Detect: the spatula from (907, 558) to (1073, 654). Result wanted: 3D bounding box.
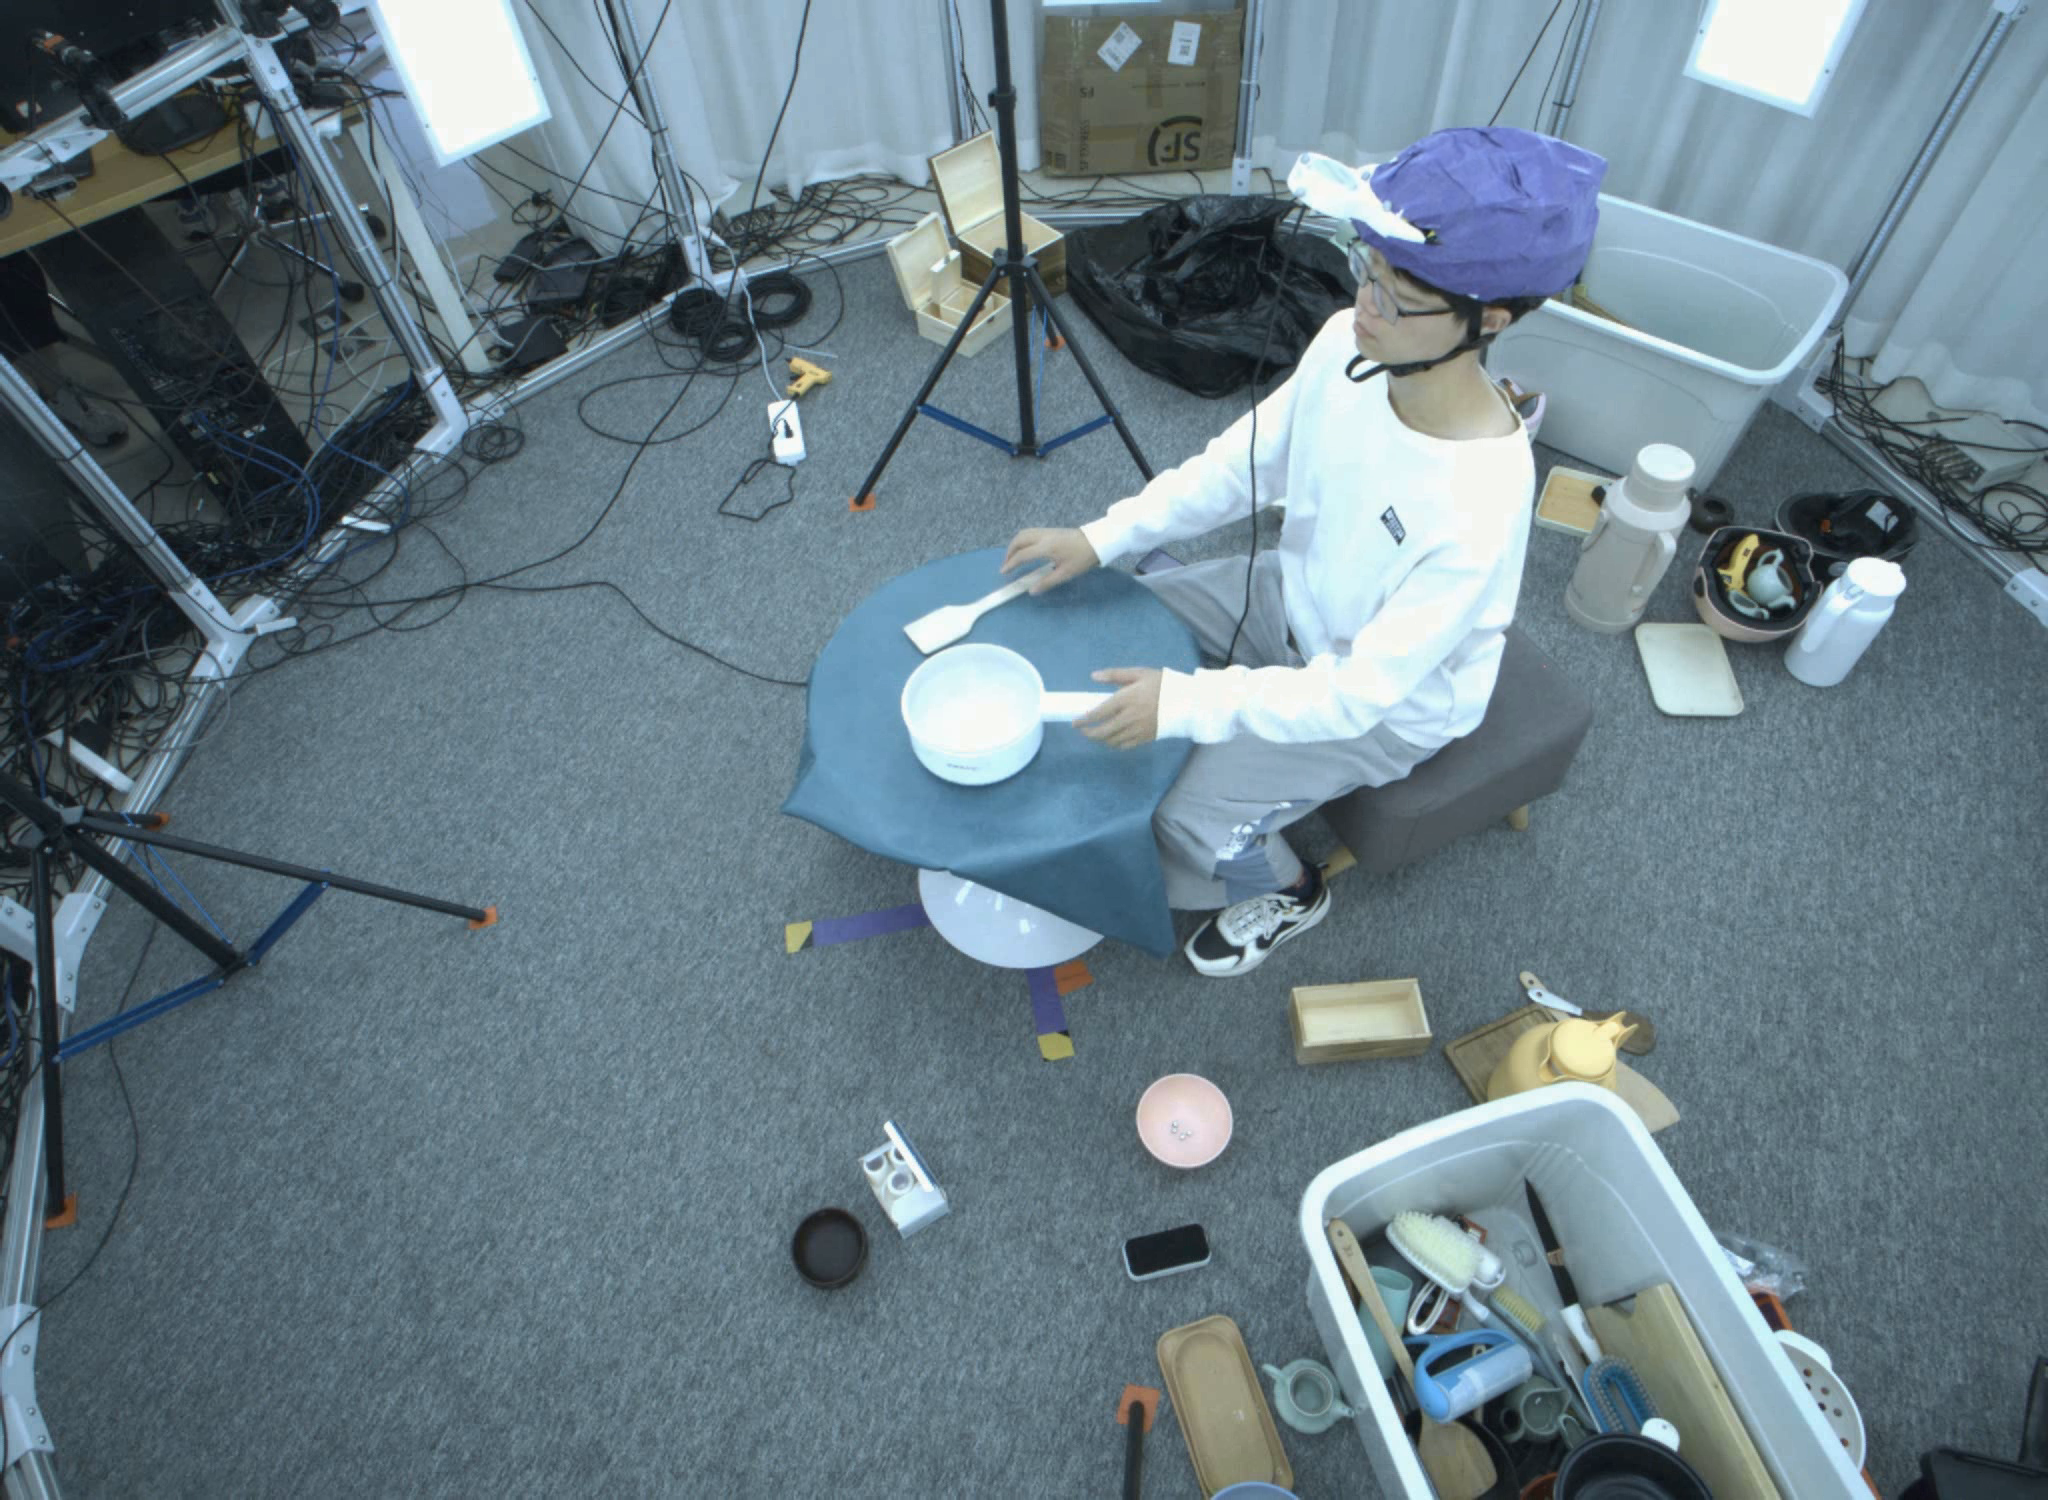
[{"bbox_3d":[-0.047,-0.238,1.951,0.295,0.011,0.071,-30,57,-18],"label":"spatula"}]

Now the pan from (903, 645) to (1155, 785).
[{"bbox_3d":[0.008,-0.043,1.757,0.354,0.103,0.199,2,53,1],"label":"pan"}]
